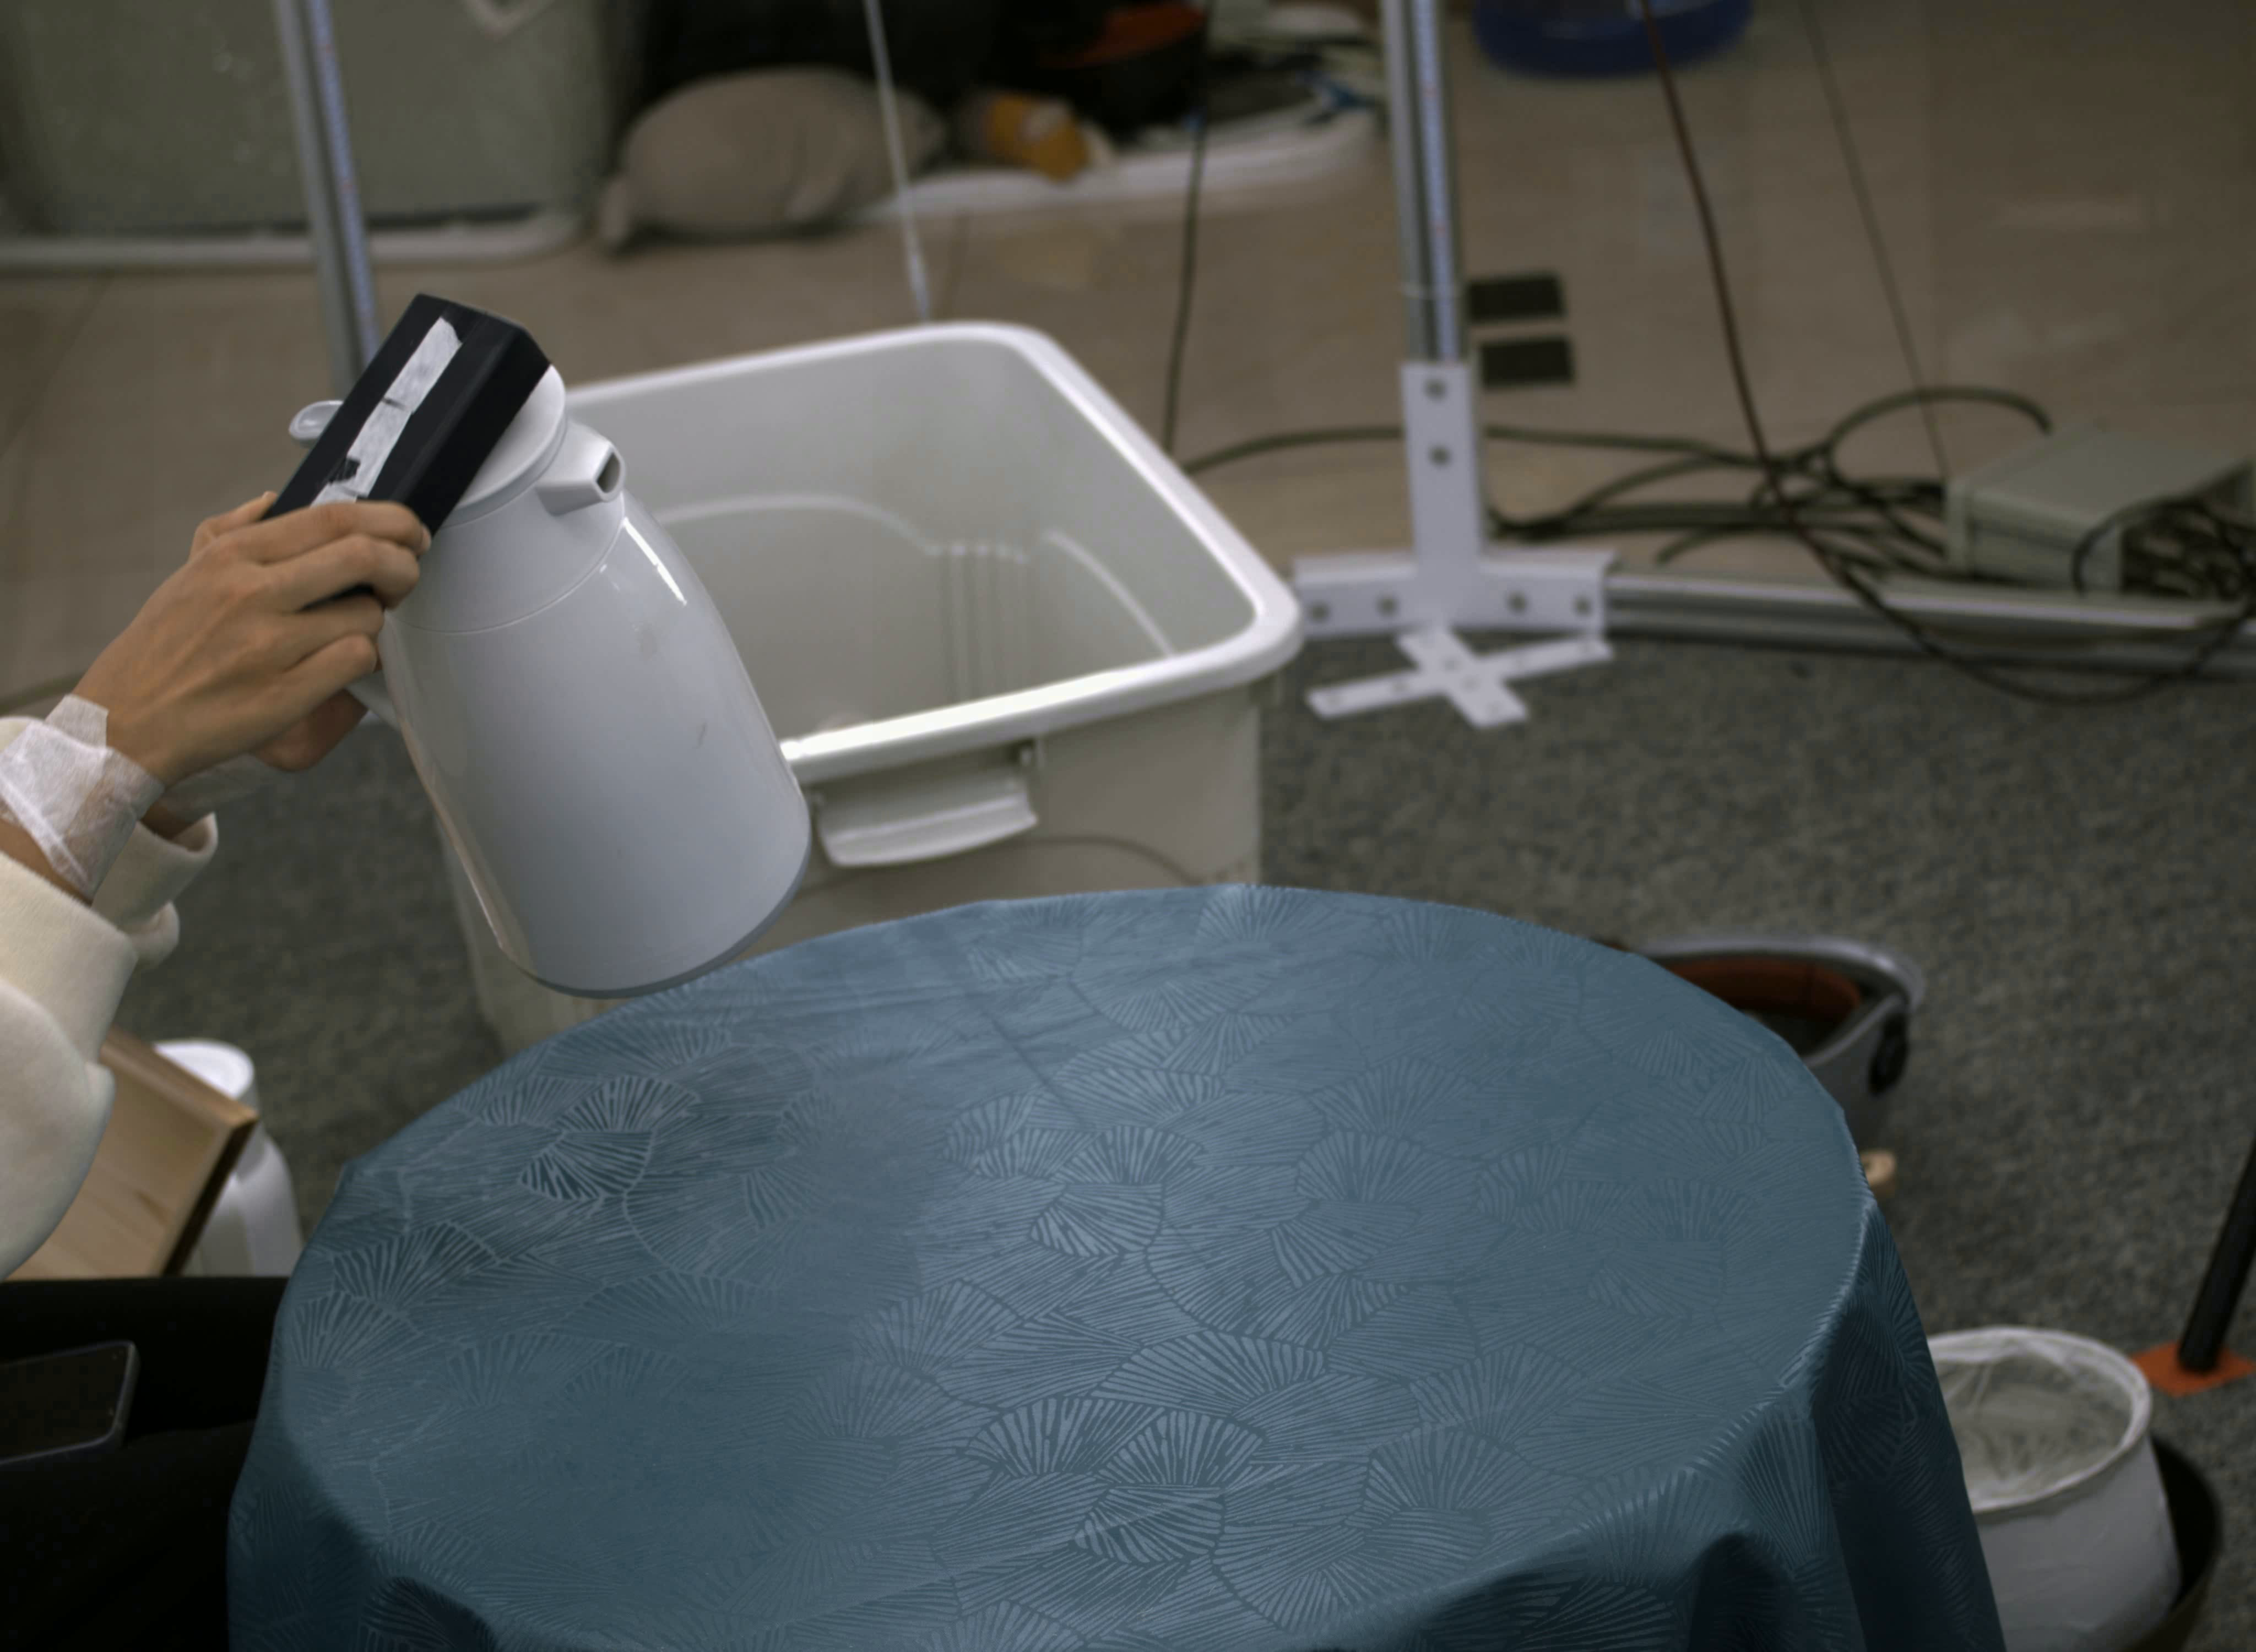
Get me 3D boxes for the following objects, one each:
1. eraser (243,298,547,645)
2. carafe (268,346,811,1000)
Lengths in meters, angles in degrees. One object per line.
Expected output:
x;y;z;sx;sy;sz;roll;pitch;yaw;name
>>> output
-0.260;-0.128;2.007;0.053;0.031;0.125;23;76;32;eraser
-0.235;-0.065;2.130;0.167;0.253;0.130;4;50;23;carafe
